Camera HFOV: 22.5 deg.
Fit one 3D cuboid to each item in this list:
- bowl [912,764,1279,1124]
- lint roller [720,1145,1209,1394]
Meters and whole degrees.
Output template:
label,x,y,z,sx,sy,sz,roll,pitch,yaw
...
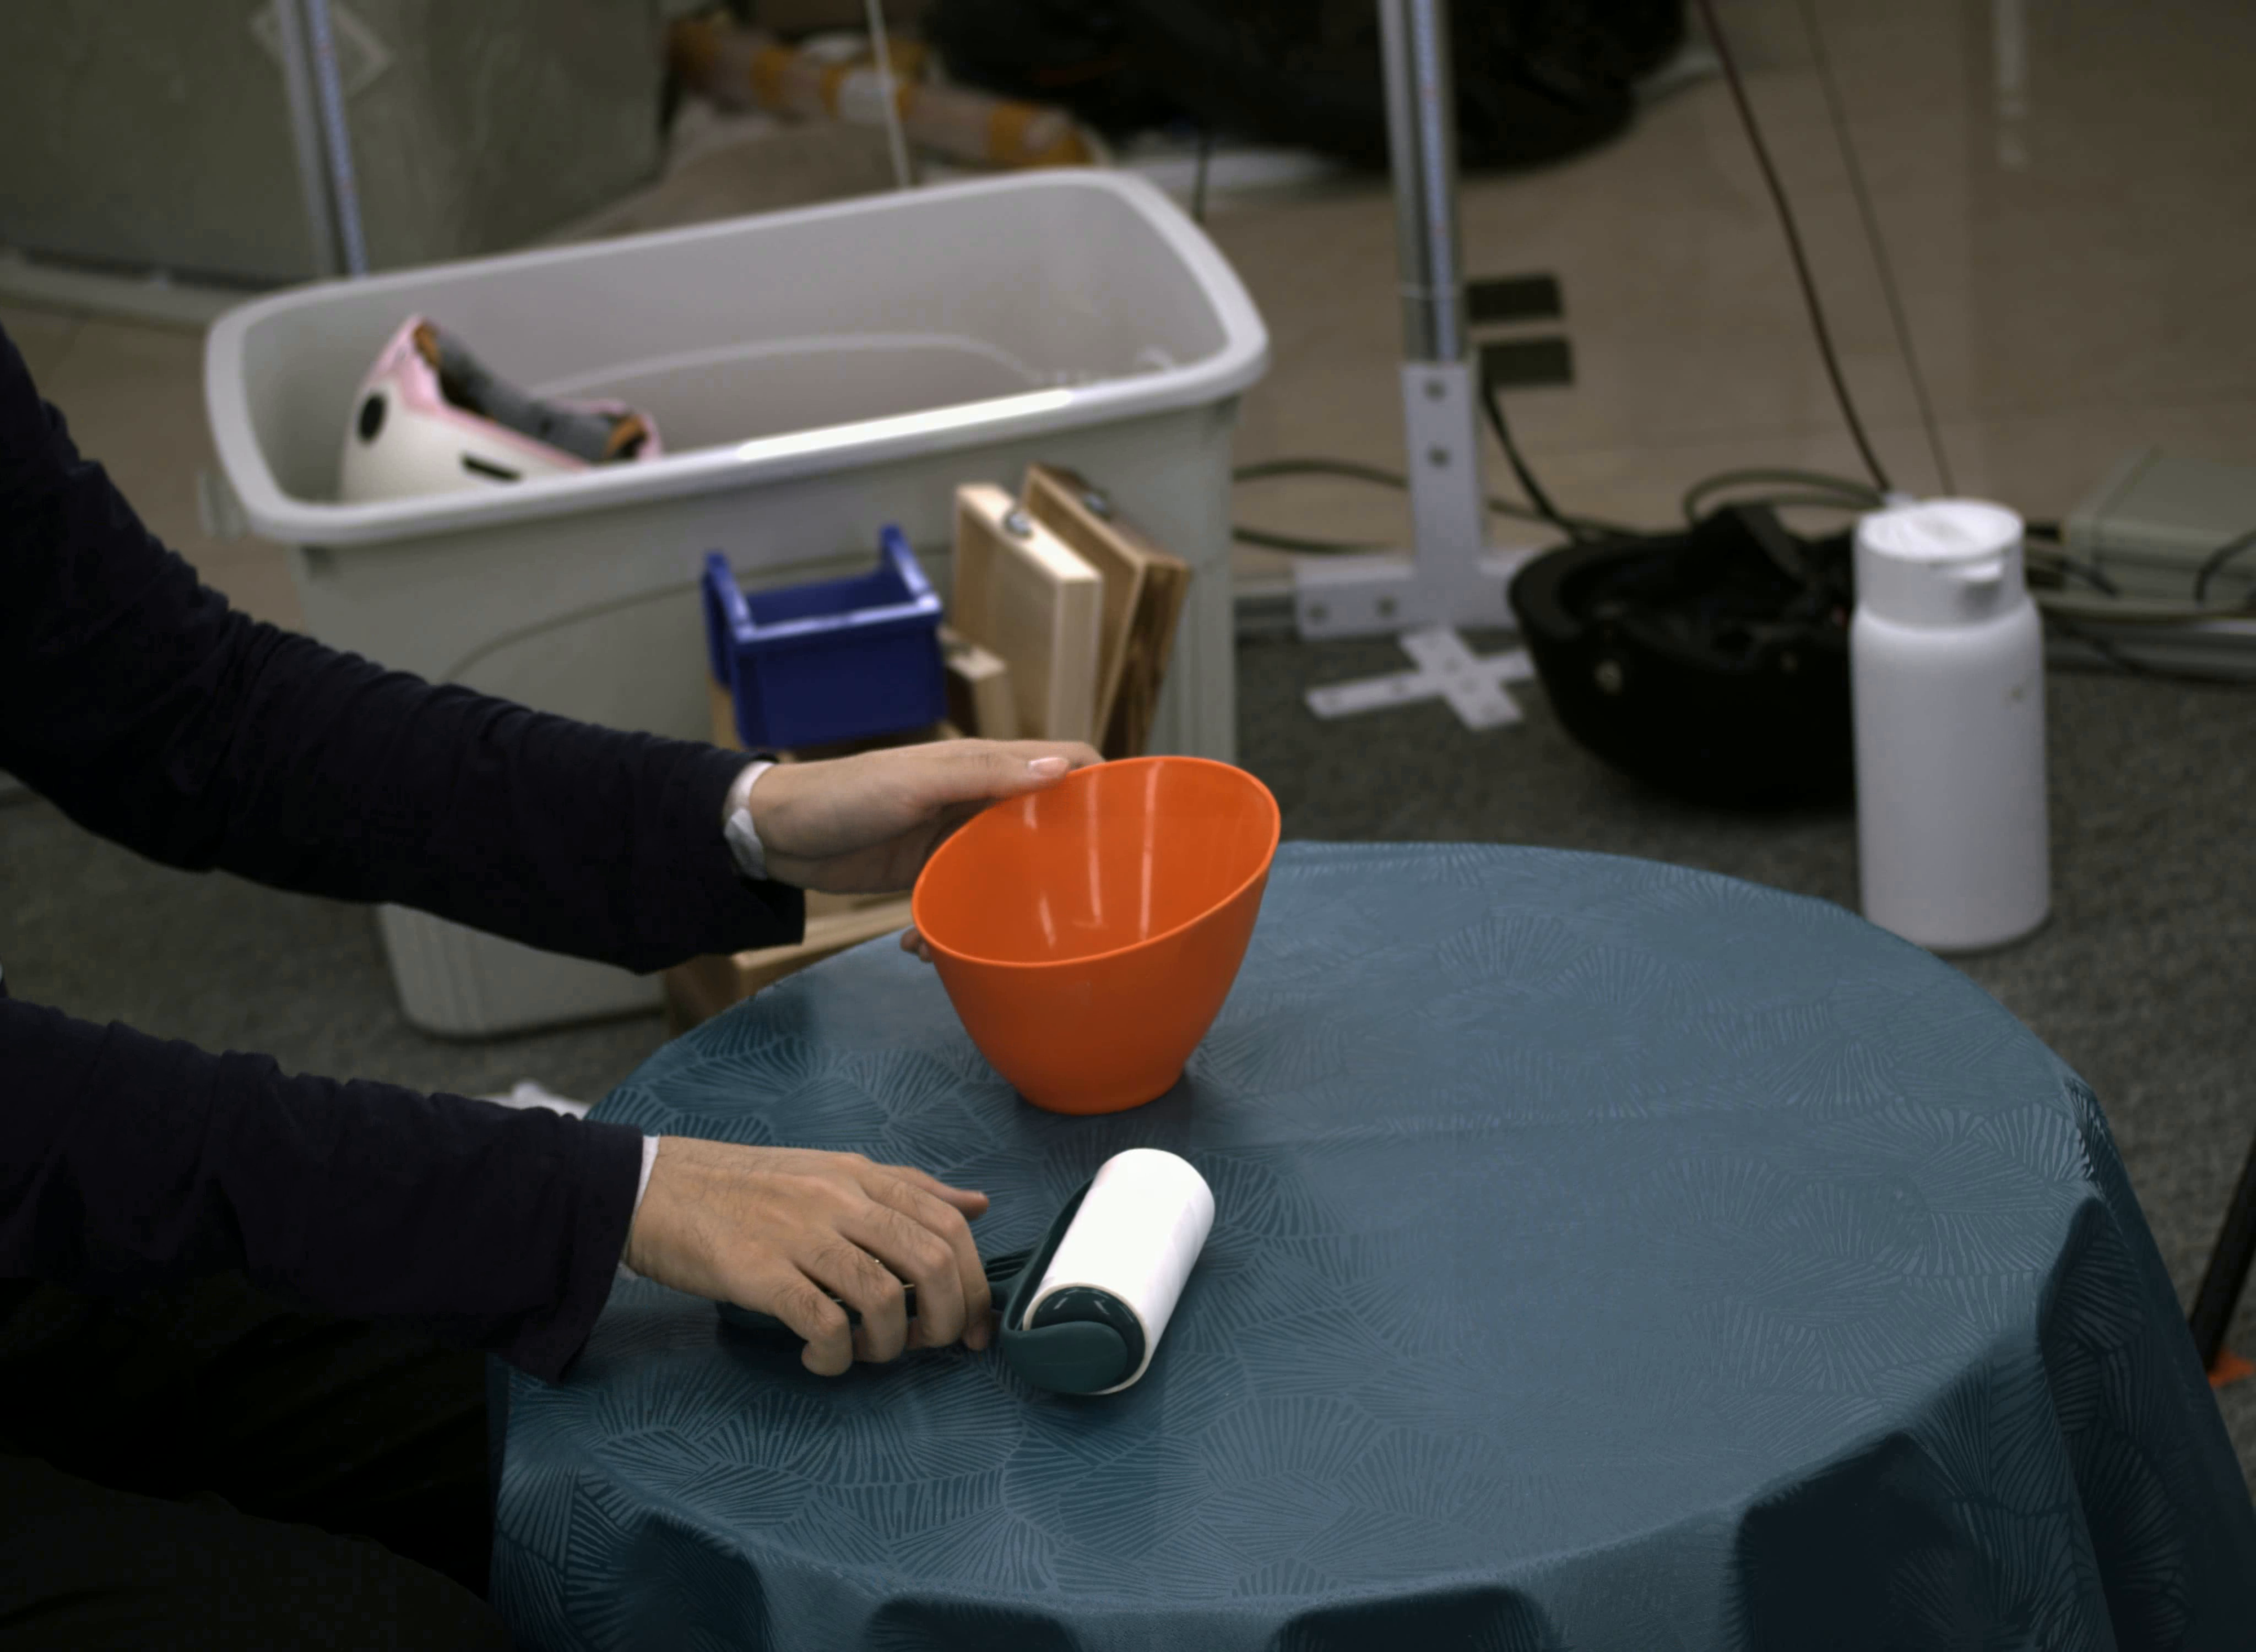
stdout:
label,x,y,z,sx,sy,sz,roll,pitch,yaw
bowl,-0.007,0.052,2.223,0.148,0.106,0.146,-8,25,4
lint roller,-0.067,0.164,2.068,0.180,0.049,0.132,-3,25,16
